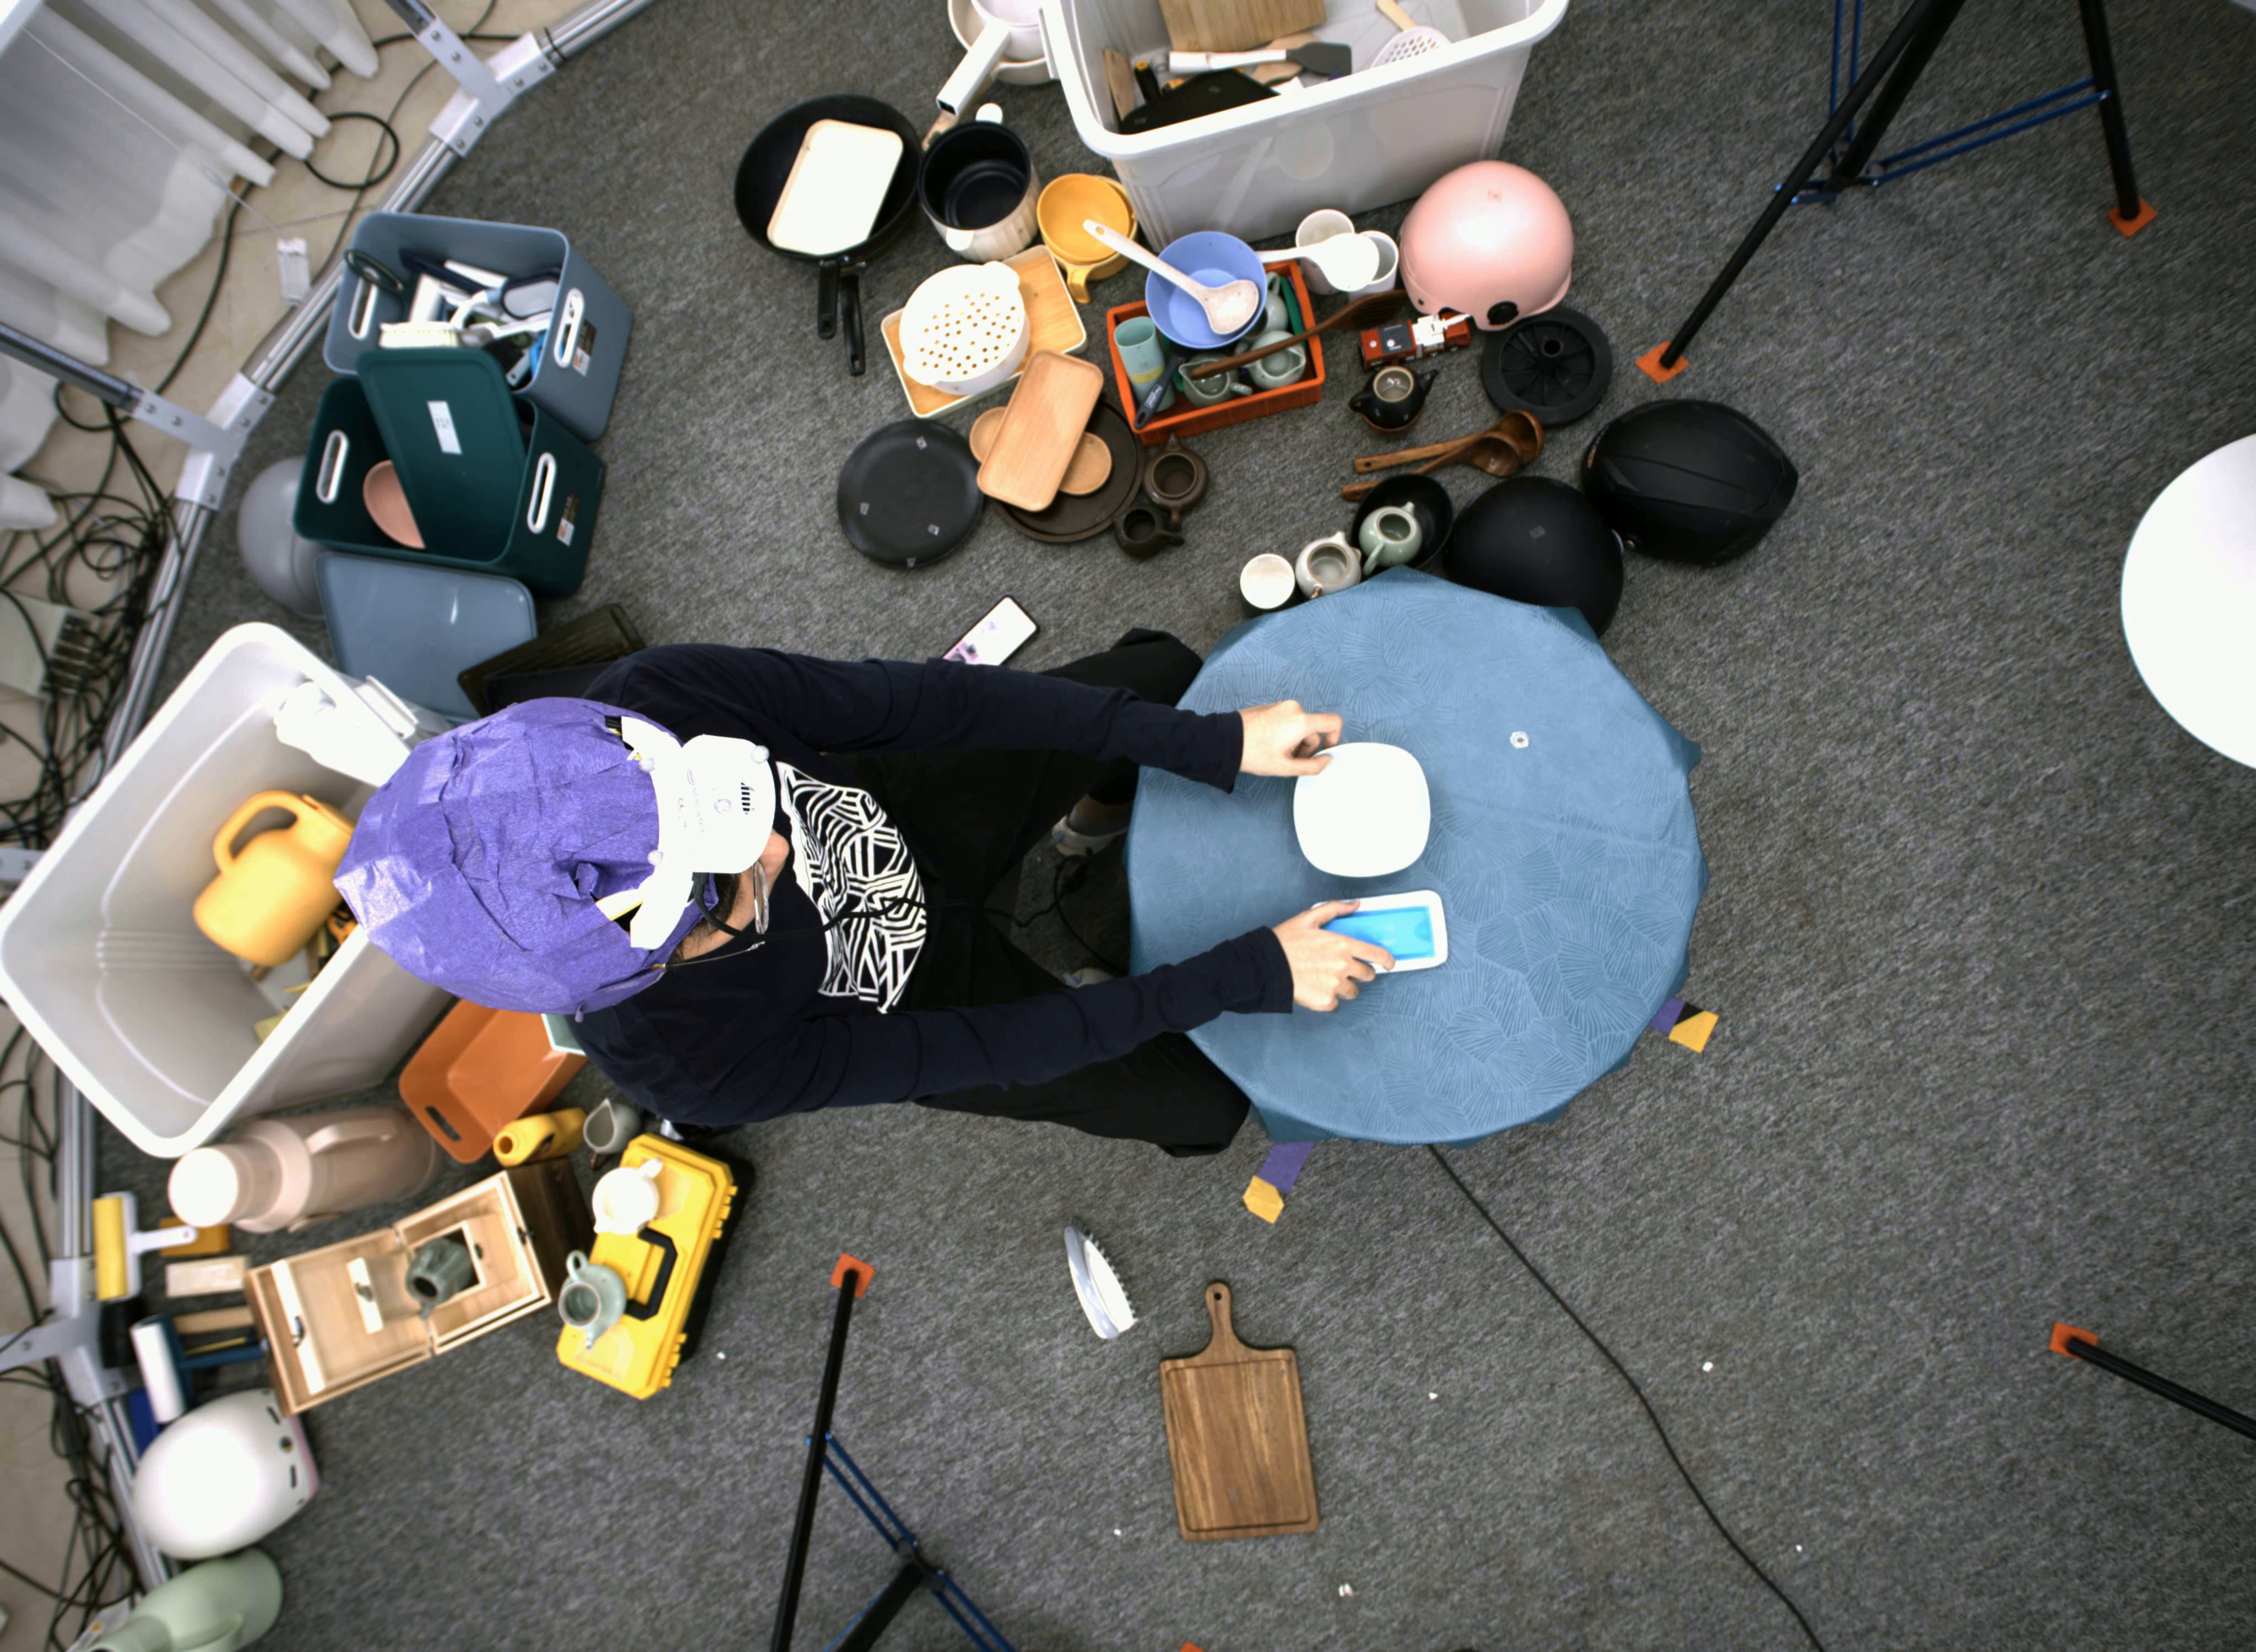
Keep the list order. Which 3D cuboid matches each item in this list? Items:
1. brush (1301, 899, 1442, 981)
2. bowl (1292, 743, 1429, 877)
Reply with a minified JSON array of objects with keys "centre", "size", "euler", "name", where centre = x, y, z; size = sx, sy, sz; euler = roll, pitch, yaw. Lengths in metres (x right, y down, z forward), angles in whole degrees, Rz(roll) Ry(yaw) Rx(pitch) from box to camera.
[{"centre":[0.251,0.113,1.429],"size":[0.144,0.056,0.083],"euler":[-5,81,9],"name":"brush"},{"centre":[0.243,-0.014,1.442],"size":[0.152,0.059,0.150],"euler":[-1,85,12],"name":"bowl"}]
